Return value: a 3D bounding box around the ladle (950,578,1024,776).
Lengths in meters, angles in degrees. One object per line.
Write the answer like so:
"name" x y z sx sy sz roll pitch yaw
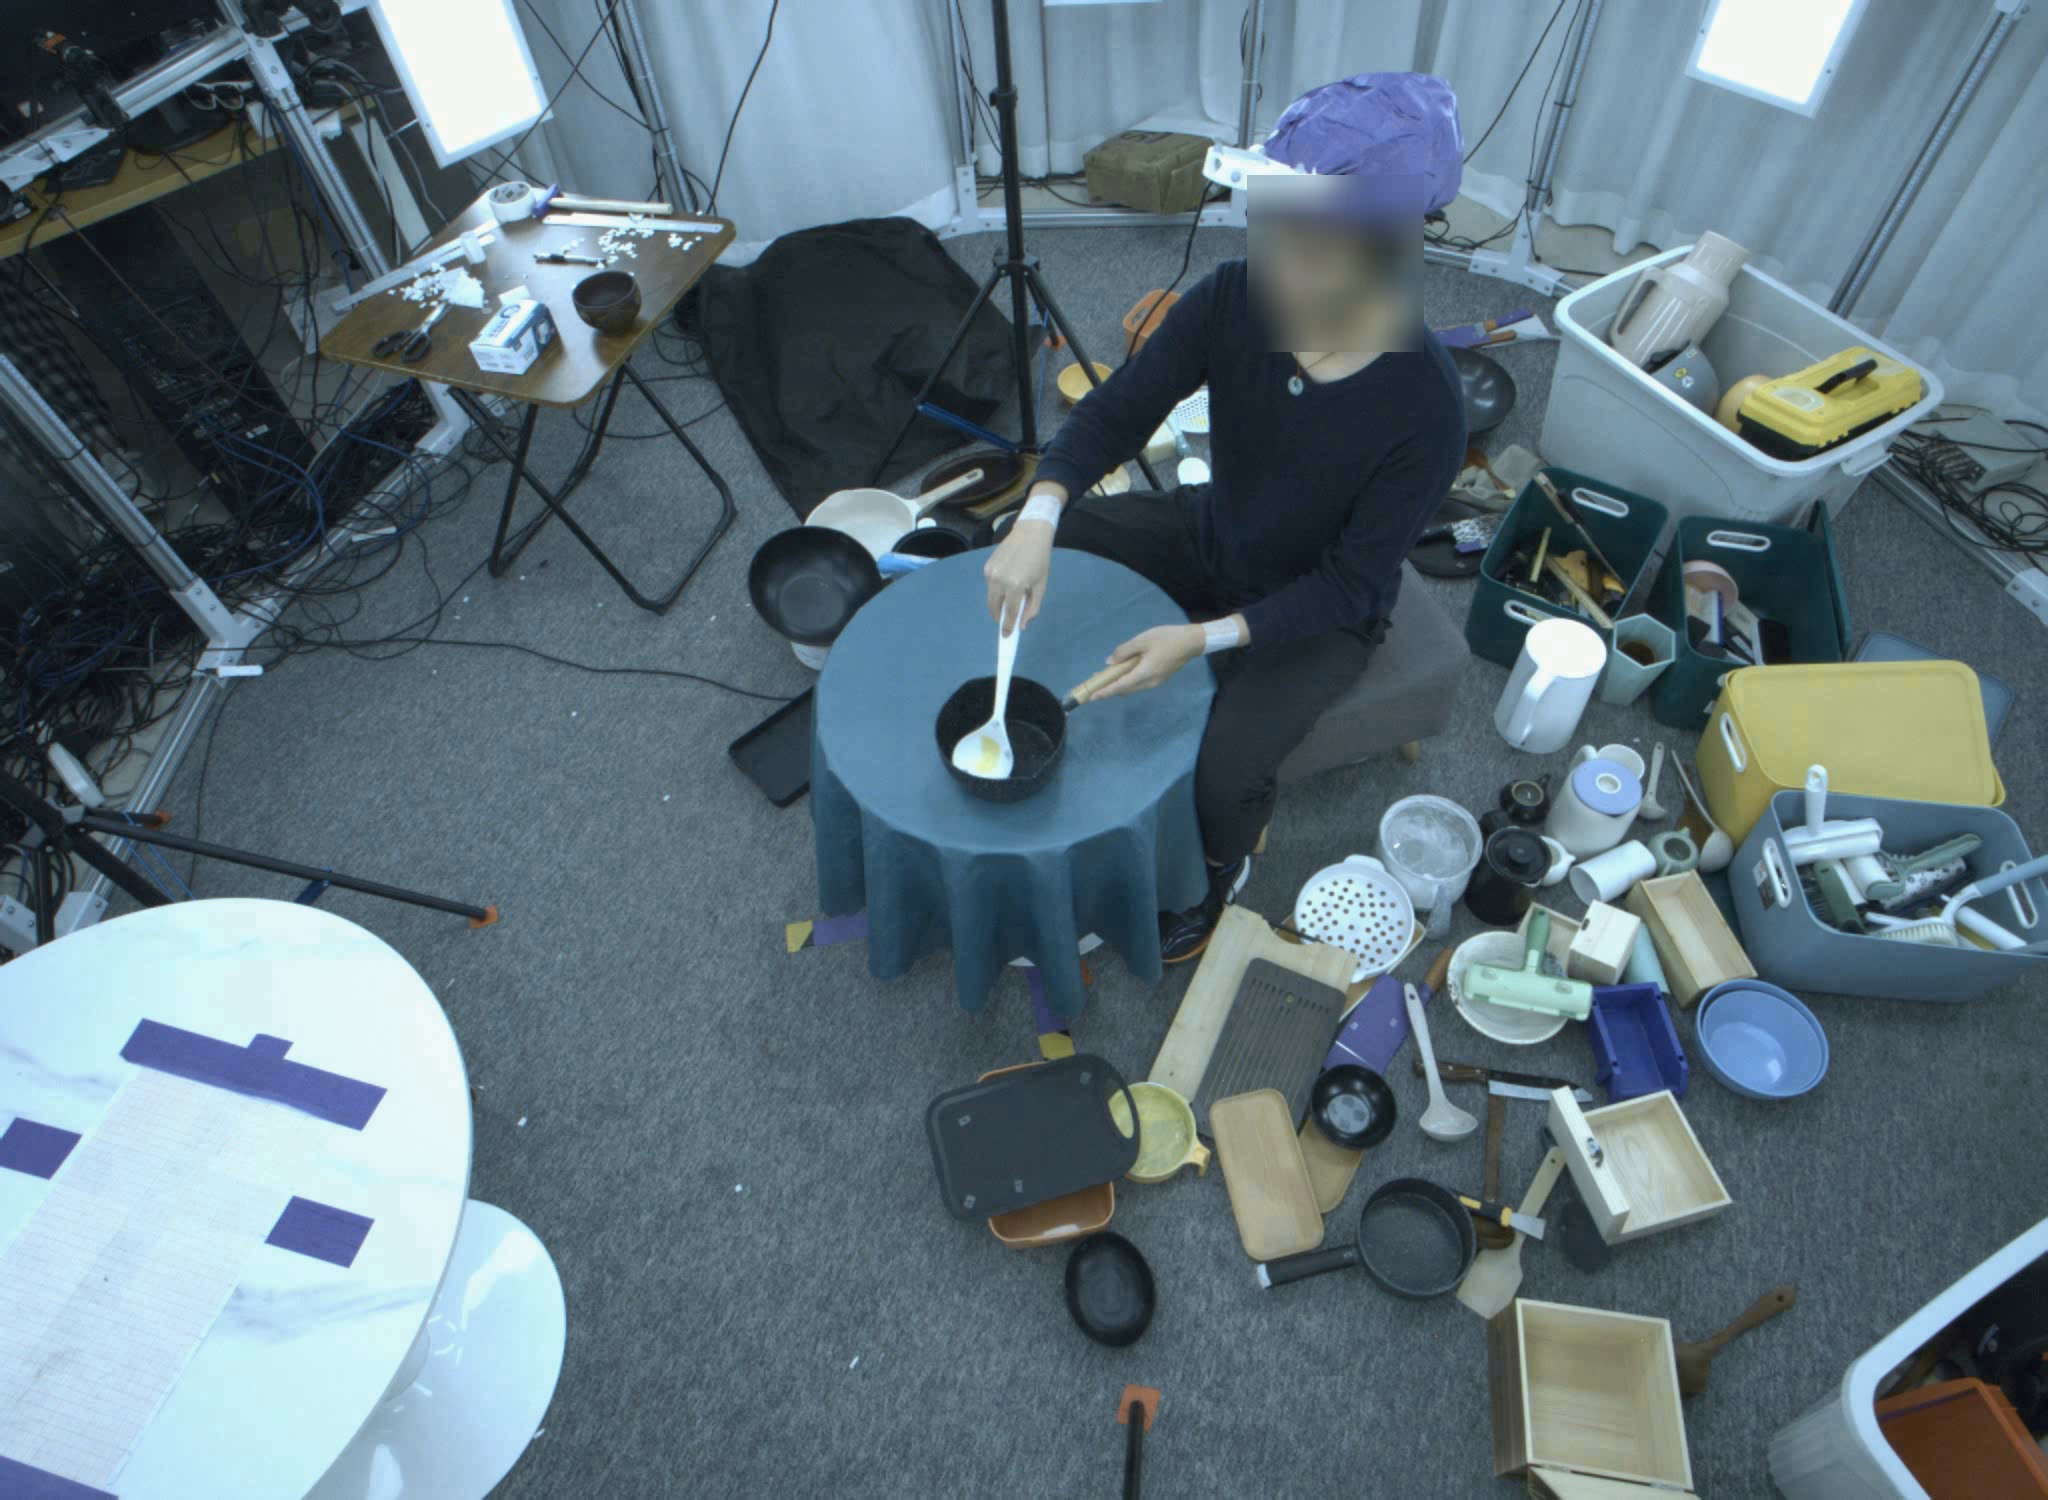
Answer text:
"ladle" -0.045 -0.092 1.692 0.088 0.294 0.071 23 32 24

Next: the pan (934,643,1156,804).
"pan" 0.038 -0.049 1.754 0.345 0.109 0.203 -27 57 -14
